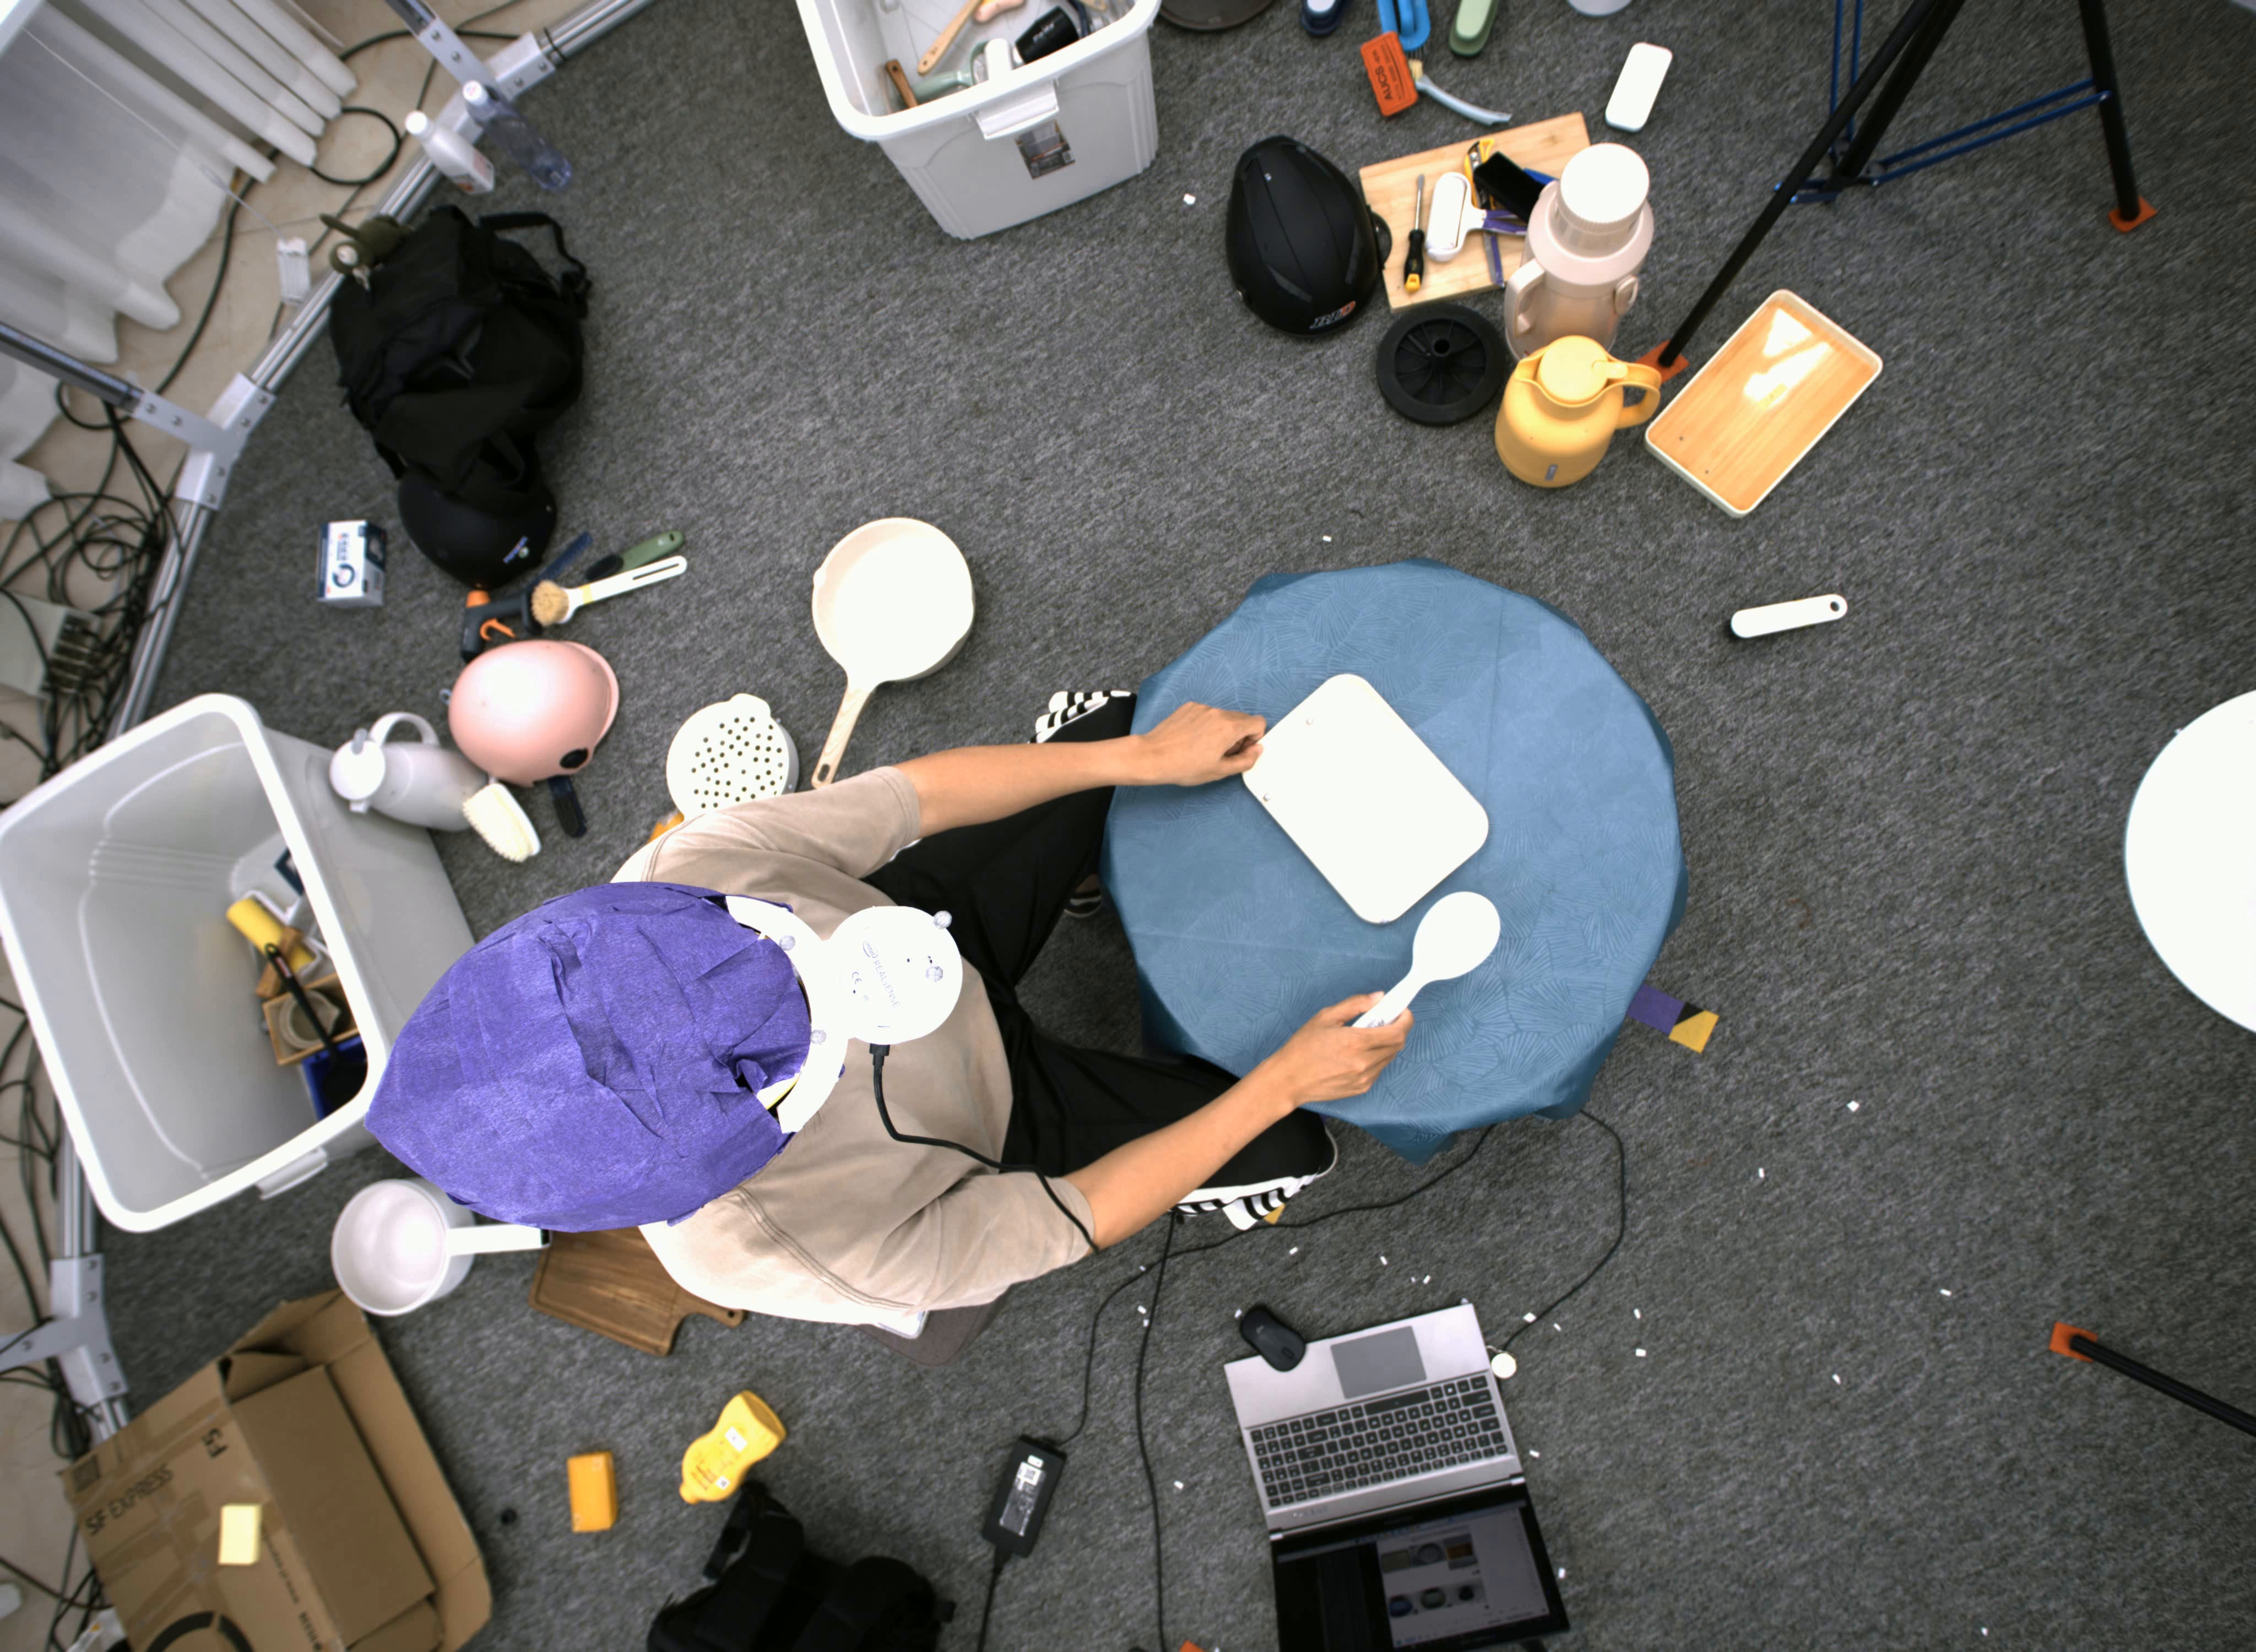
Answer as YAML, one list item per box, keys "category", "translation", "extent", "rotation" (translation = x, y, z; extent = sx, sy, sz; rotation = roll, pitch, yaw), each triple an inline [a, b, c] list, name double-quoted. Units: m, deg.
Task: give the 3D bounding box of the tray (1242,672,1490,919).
- category: "tray"
  translation: [0.251, -0.034, 1.462]
  extent: [0.172, 0.017, 0.238]
  rotation: [-42, 80, 5]

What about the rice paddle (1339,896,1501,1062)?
- category: "rice paddle"
  translation: [0.291, 0.151, 1.378]
  extent: [0.068, 0.029, 0.207]
  rotation: [43, 100, 4]
